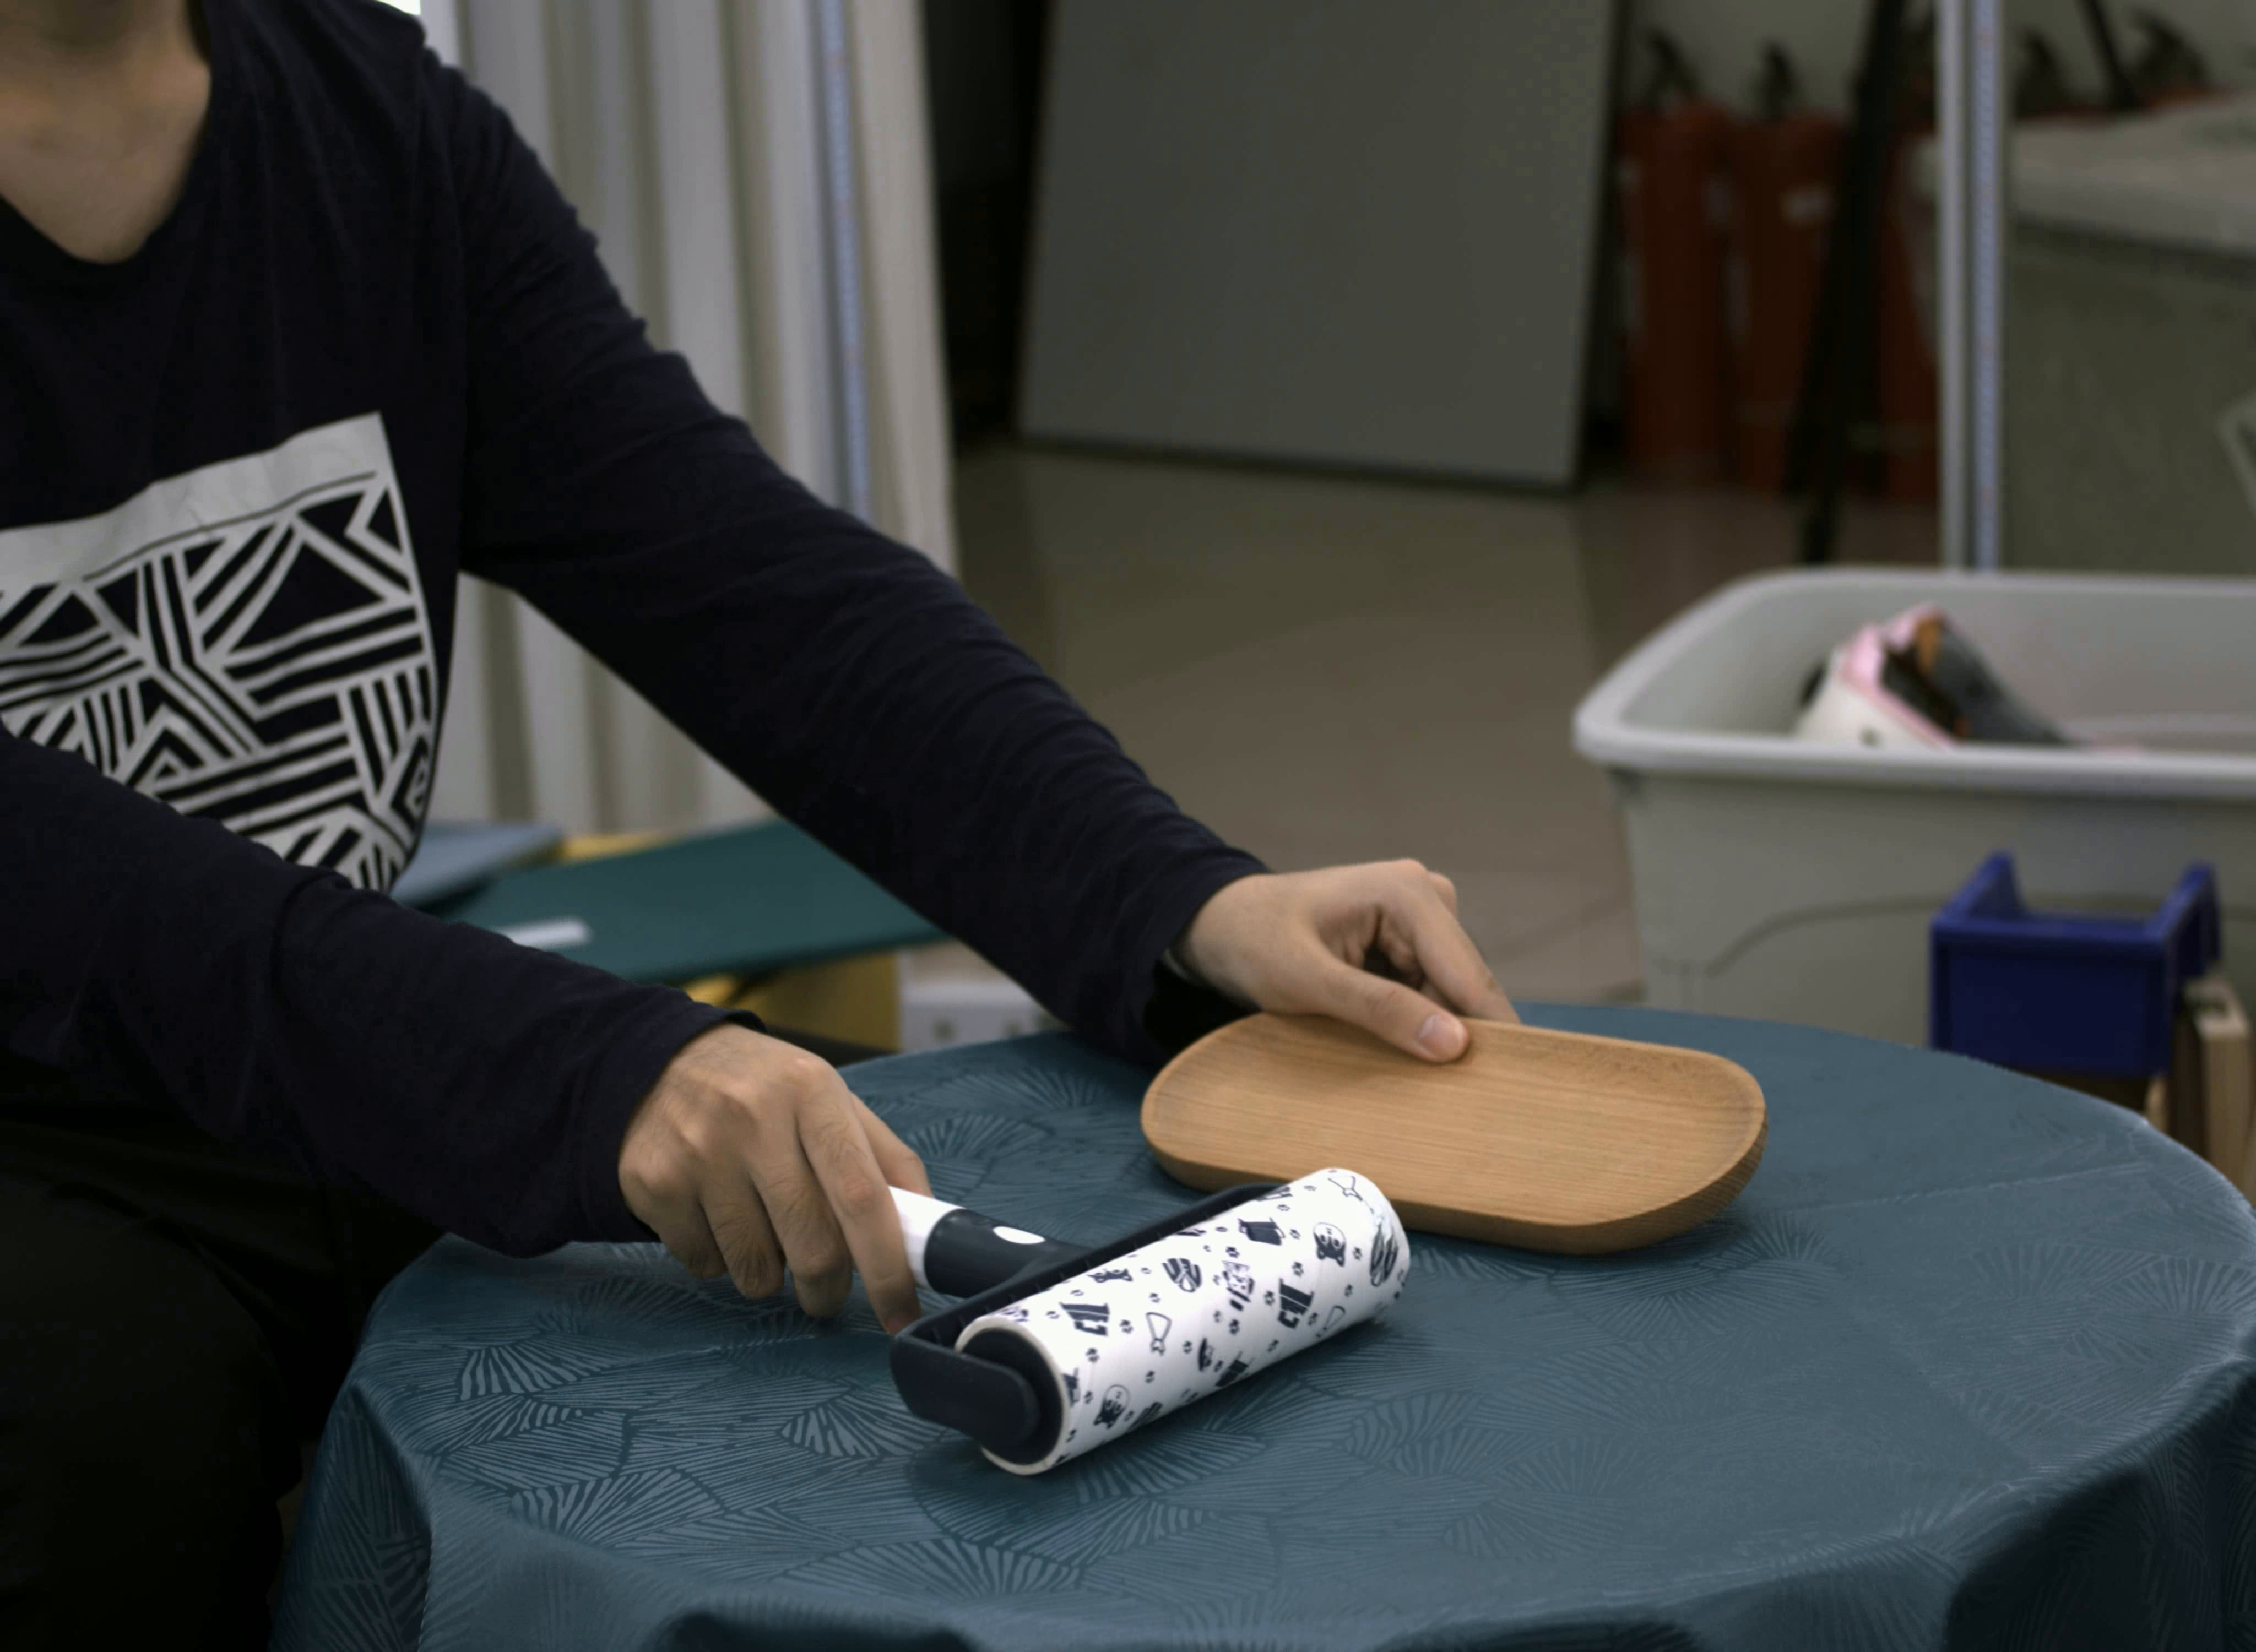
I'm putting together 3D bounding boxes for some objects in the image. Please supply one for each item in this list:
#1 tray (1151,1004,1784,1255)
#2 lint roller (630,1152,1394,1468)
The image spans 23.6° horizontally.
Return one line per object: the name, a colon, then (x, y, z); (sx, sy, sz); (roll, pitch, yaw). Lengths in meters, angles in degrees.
tray: (0.108, 0.098, 1.748); (0.233, 0.020, 0.100); (7, 37, 38)
lint roller: (-0.062, 0.127, 1.640); (0.249, 0.051, 0.173); (10, 20, 40)
